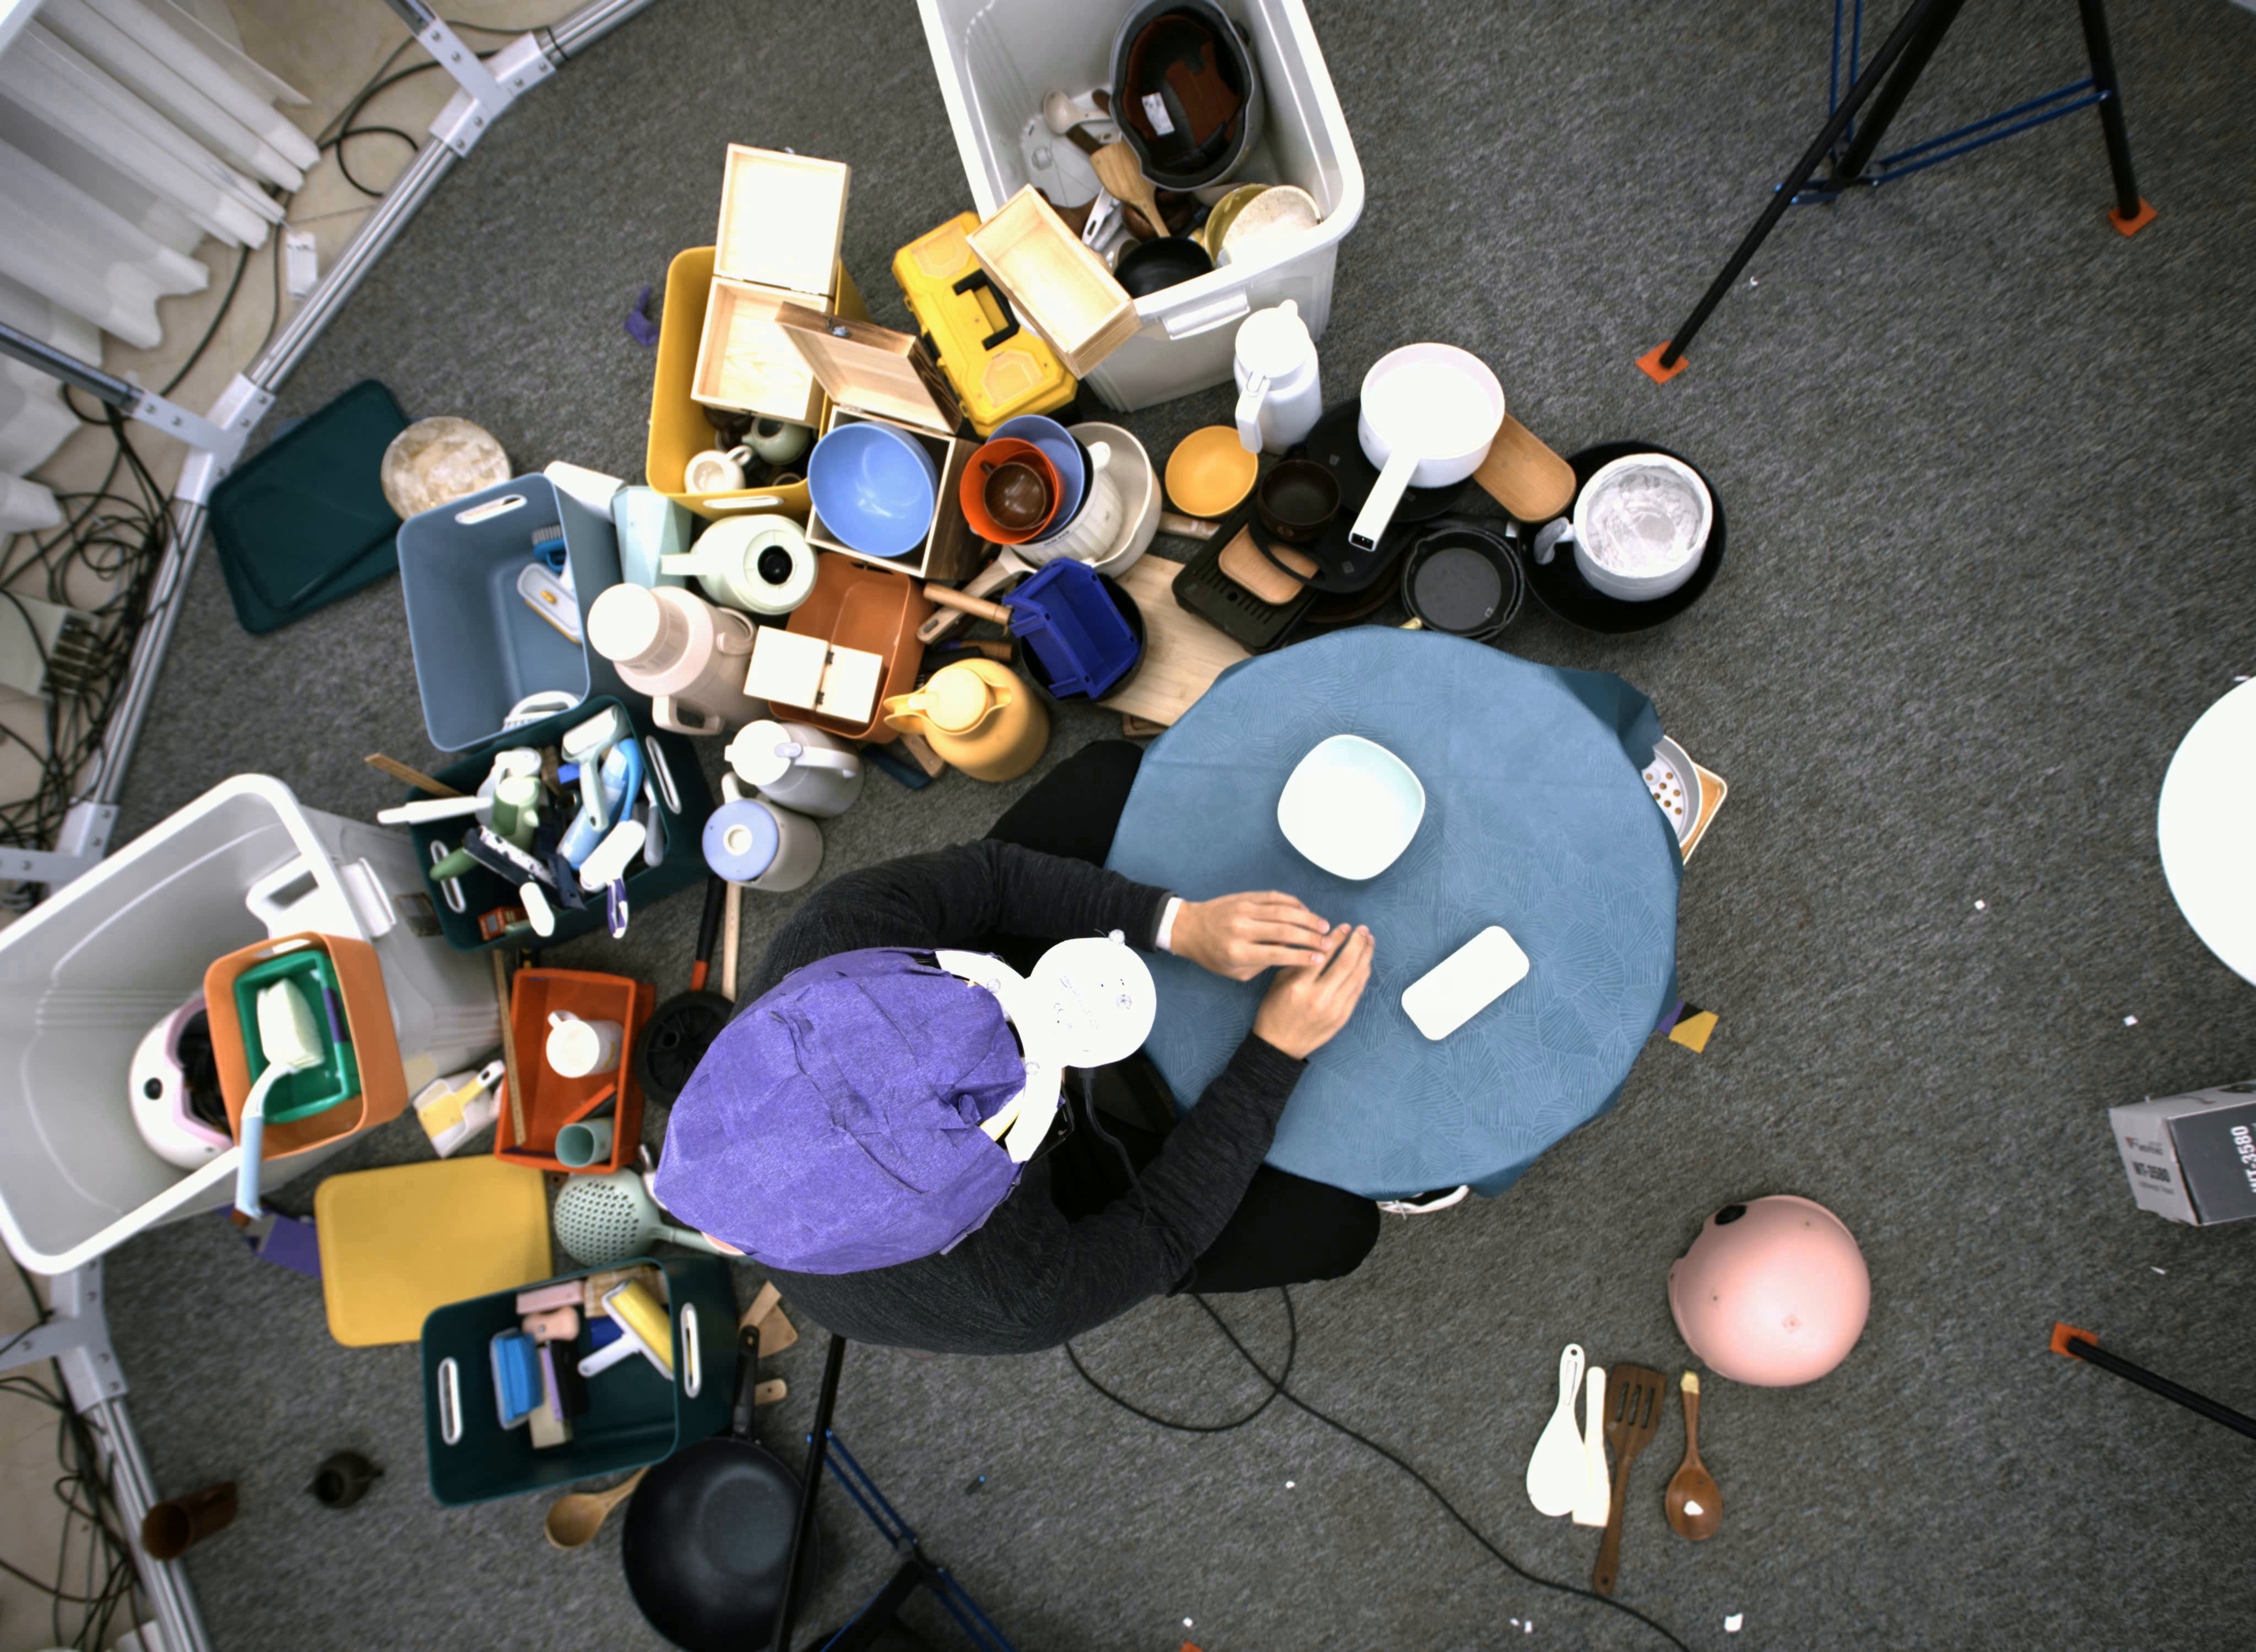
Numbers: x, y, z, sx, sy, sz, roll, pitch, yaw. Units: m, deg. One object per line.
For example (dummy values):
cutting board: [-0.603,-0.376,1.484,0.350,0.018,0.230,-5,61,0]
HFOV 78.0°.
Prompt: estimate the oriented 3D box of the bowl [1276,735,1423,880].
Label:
bowl: [0.232,-0.017,1.444,0.152,0.059,0.150,-1,85,9]

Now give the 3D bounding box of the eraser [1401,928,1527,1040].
eraser: [0.346,0.160,1.425,0.132,0.034,0.063,-38,78,5]
